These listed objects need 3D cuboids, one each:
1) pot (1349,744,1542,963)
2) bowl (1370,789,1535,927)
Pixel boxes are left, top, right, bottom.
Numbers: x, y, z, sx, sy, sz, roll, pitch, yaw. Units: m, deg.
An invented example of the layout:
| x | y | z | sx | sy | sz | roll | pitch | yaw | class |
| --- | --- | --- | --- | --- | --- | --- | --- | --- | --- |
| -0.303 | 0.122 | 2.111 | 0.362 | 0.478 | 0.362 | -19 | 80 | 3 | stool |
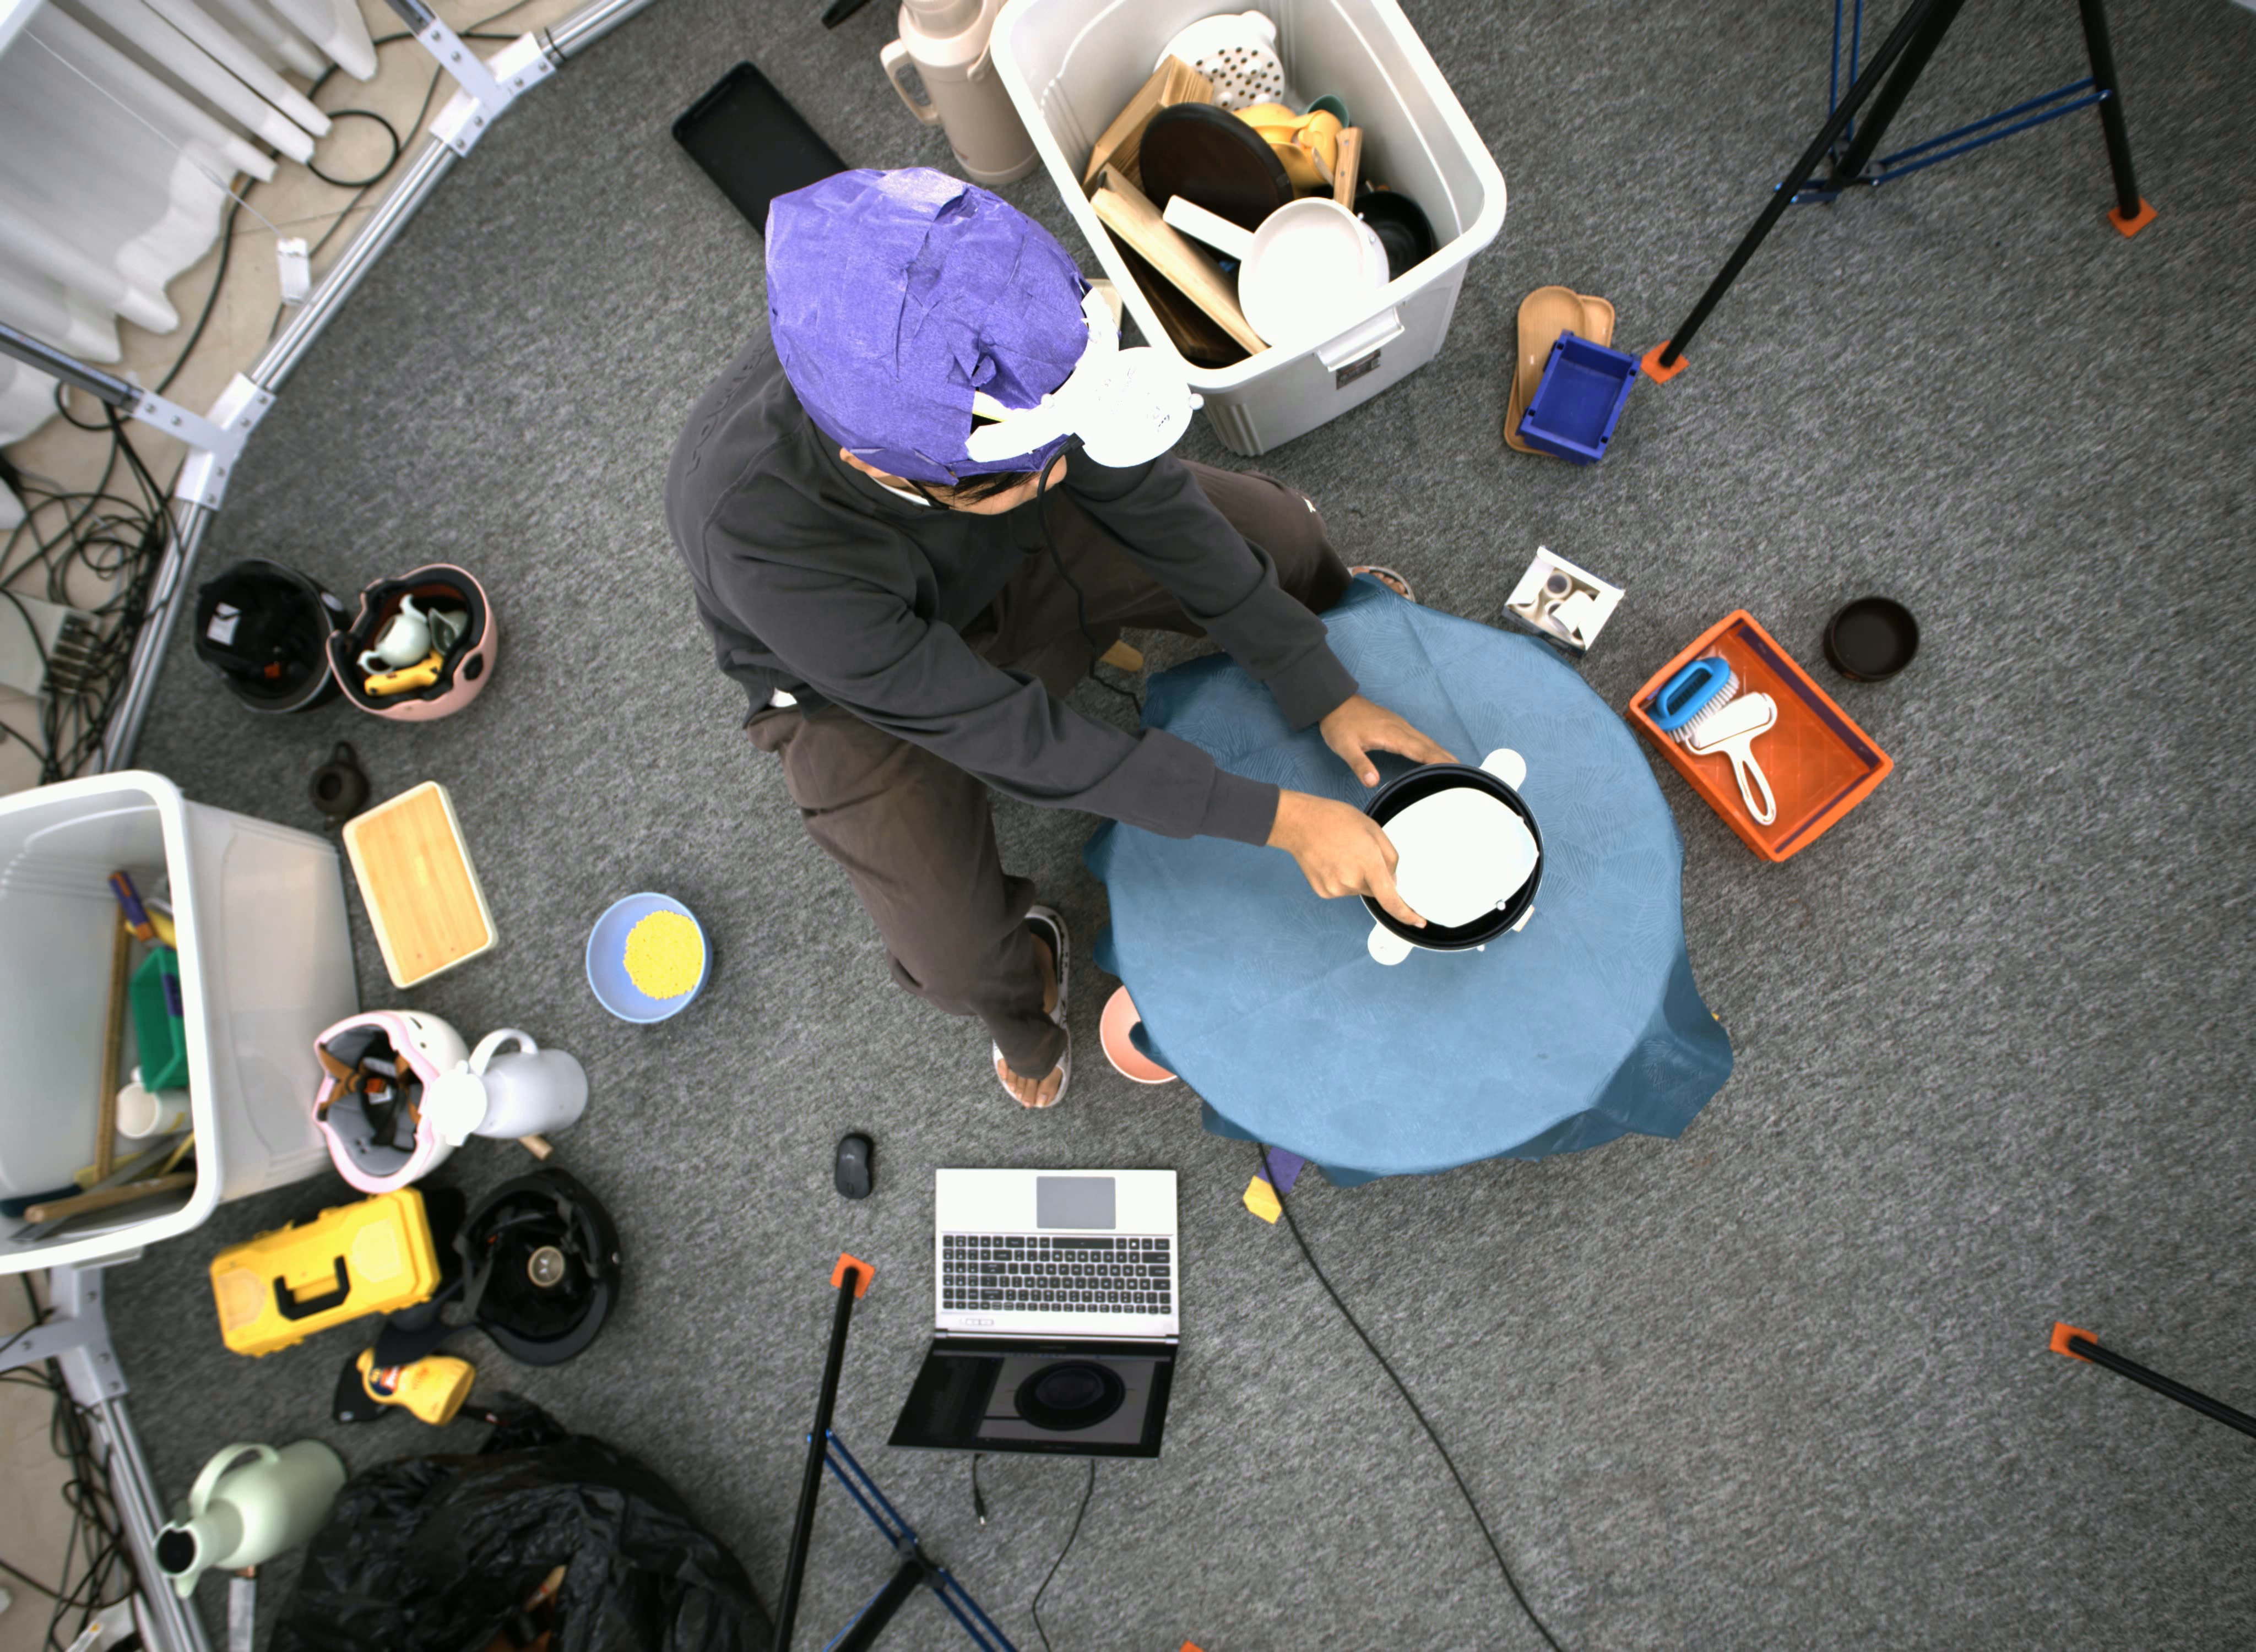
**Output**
| x | y | z | sx | sy | sz | roll | pitch | yaw | class |
| --- | --- | --- | --- | --- | --- | --- | --- | --- | --- |
| 0.321 | 0.033 | 1.382 | 0.190 | 0.142 | 0.241 | 32 | 94 | 15 | pot |
| 0.305 | 0.038 | 1.295 | 0.152 | 0.060 | 0.147 | -8 | 50 | 9 | bowl |
